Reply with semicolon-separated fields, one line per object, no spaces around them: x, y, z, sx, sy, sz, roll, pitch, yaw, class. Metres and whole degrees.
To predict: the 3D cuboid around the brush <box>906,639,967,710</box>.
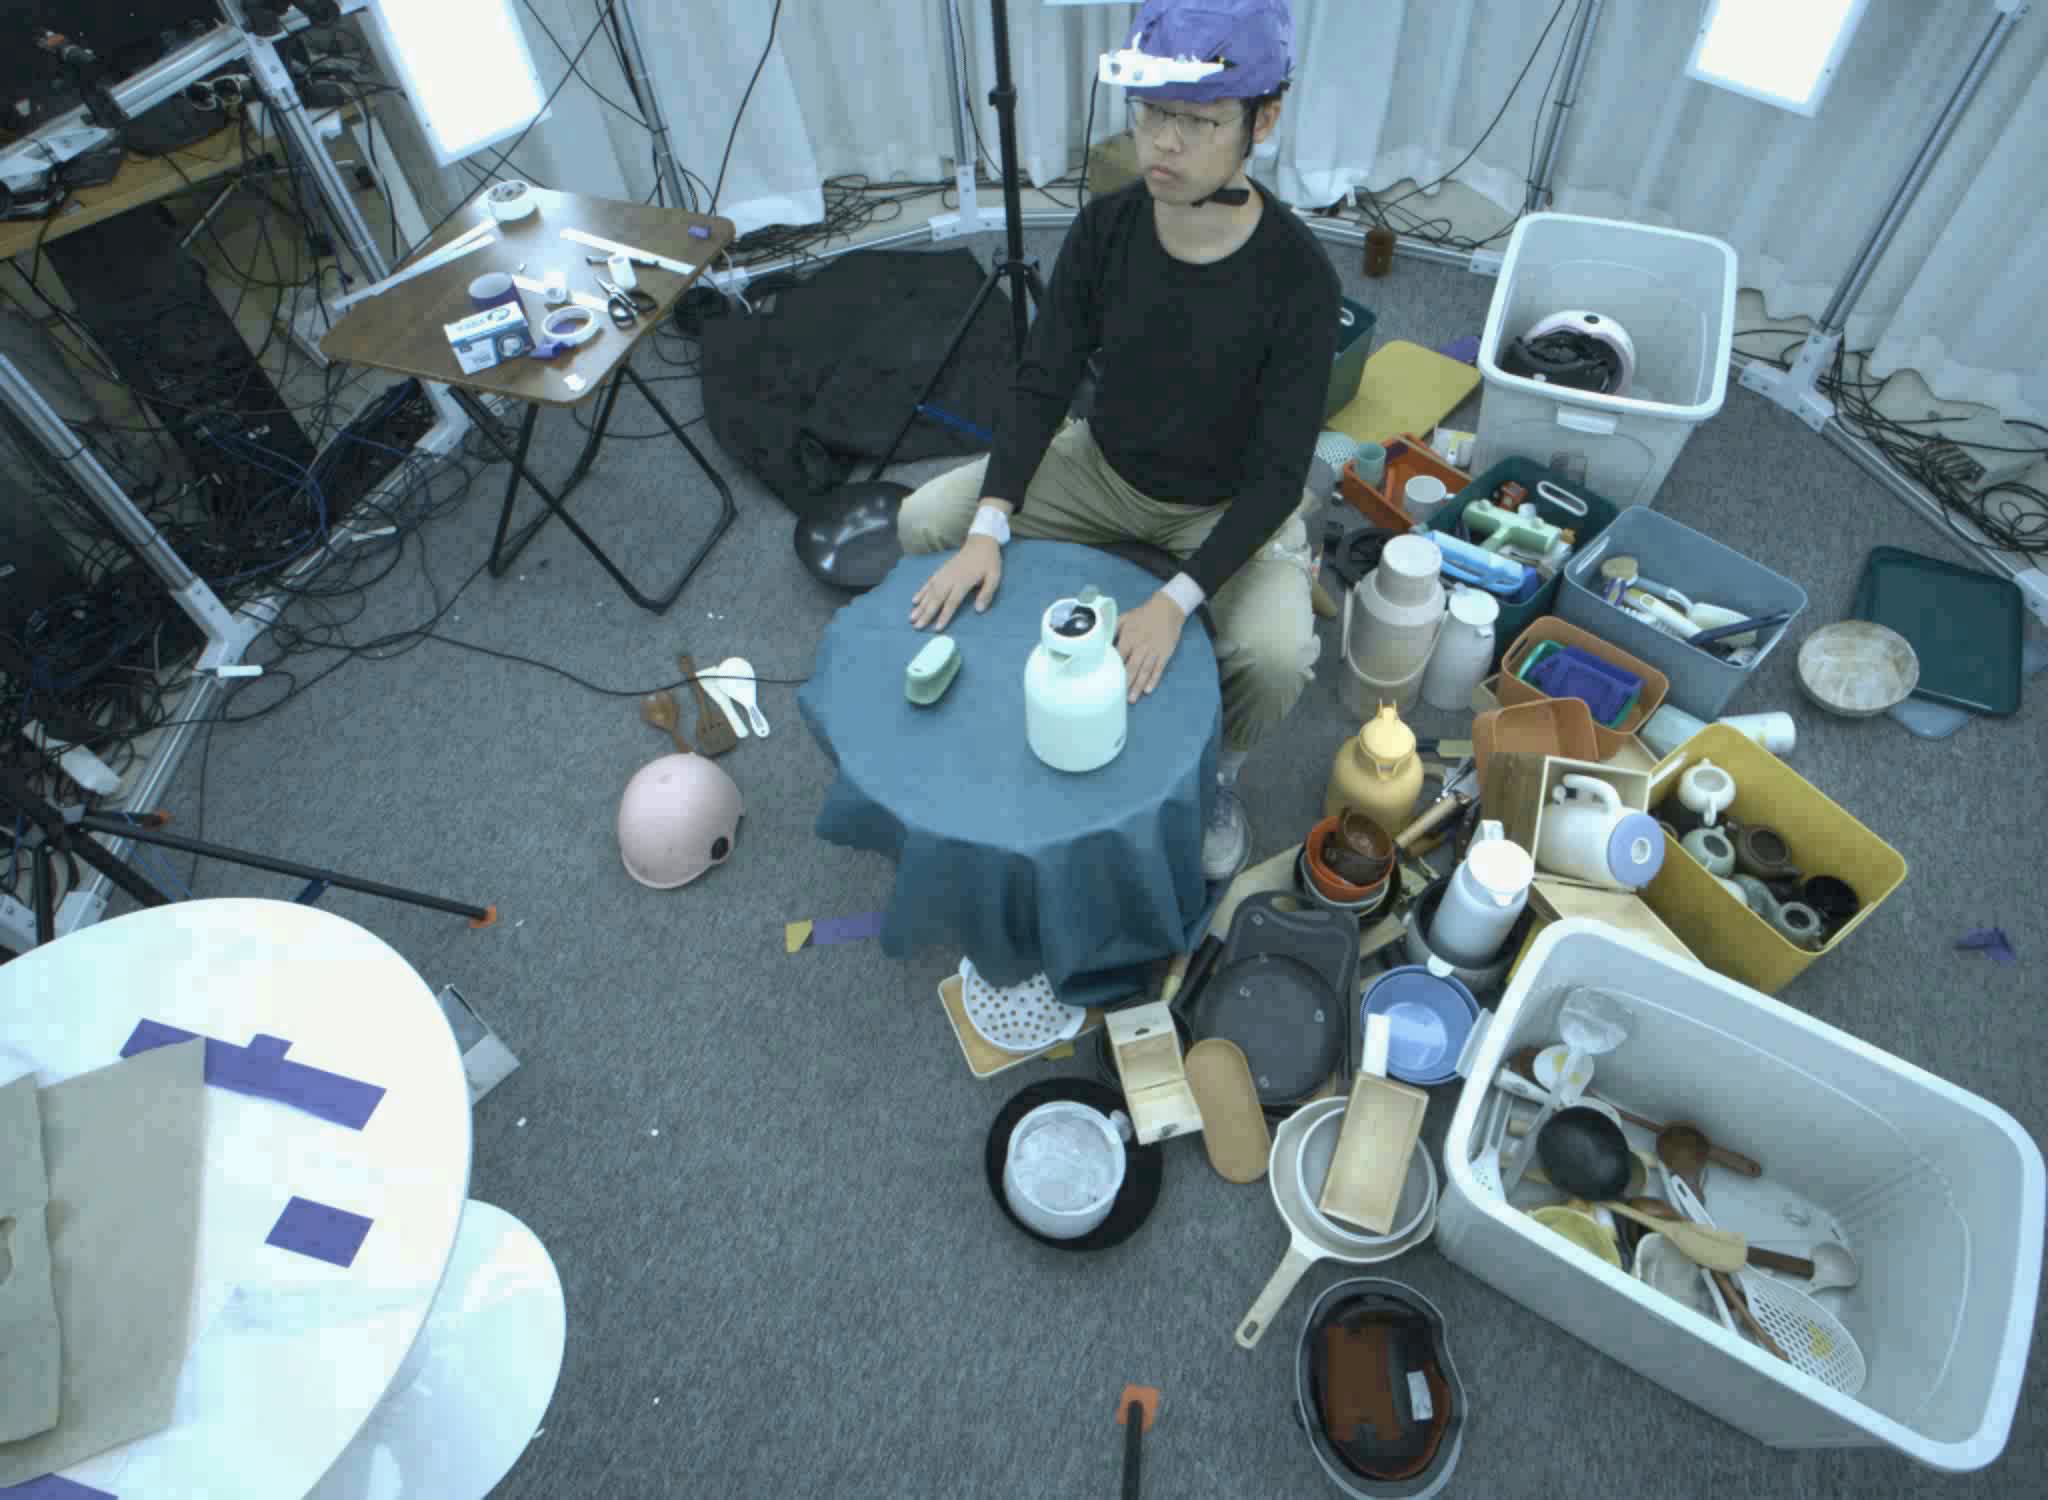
-0.134;-0.114;1.846;0.059;0.076;0.124;22;41;20;brush

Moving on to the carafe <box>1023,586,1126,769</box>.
0.076;-0.106;1.702;0.142;0.259;0.187;20;56;17;carafe
